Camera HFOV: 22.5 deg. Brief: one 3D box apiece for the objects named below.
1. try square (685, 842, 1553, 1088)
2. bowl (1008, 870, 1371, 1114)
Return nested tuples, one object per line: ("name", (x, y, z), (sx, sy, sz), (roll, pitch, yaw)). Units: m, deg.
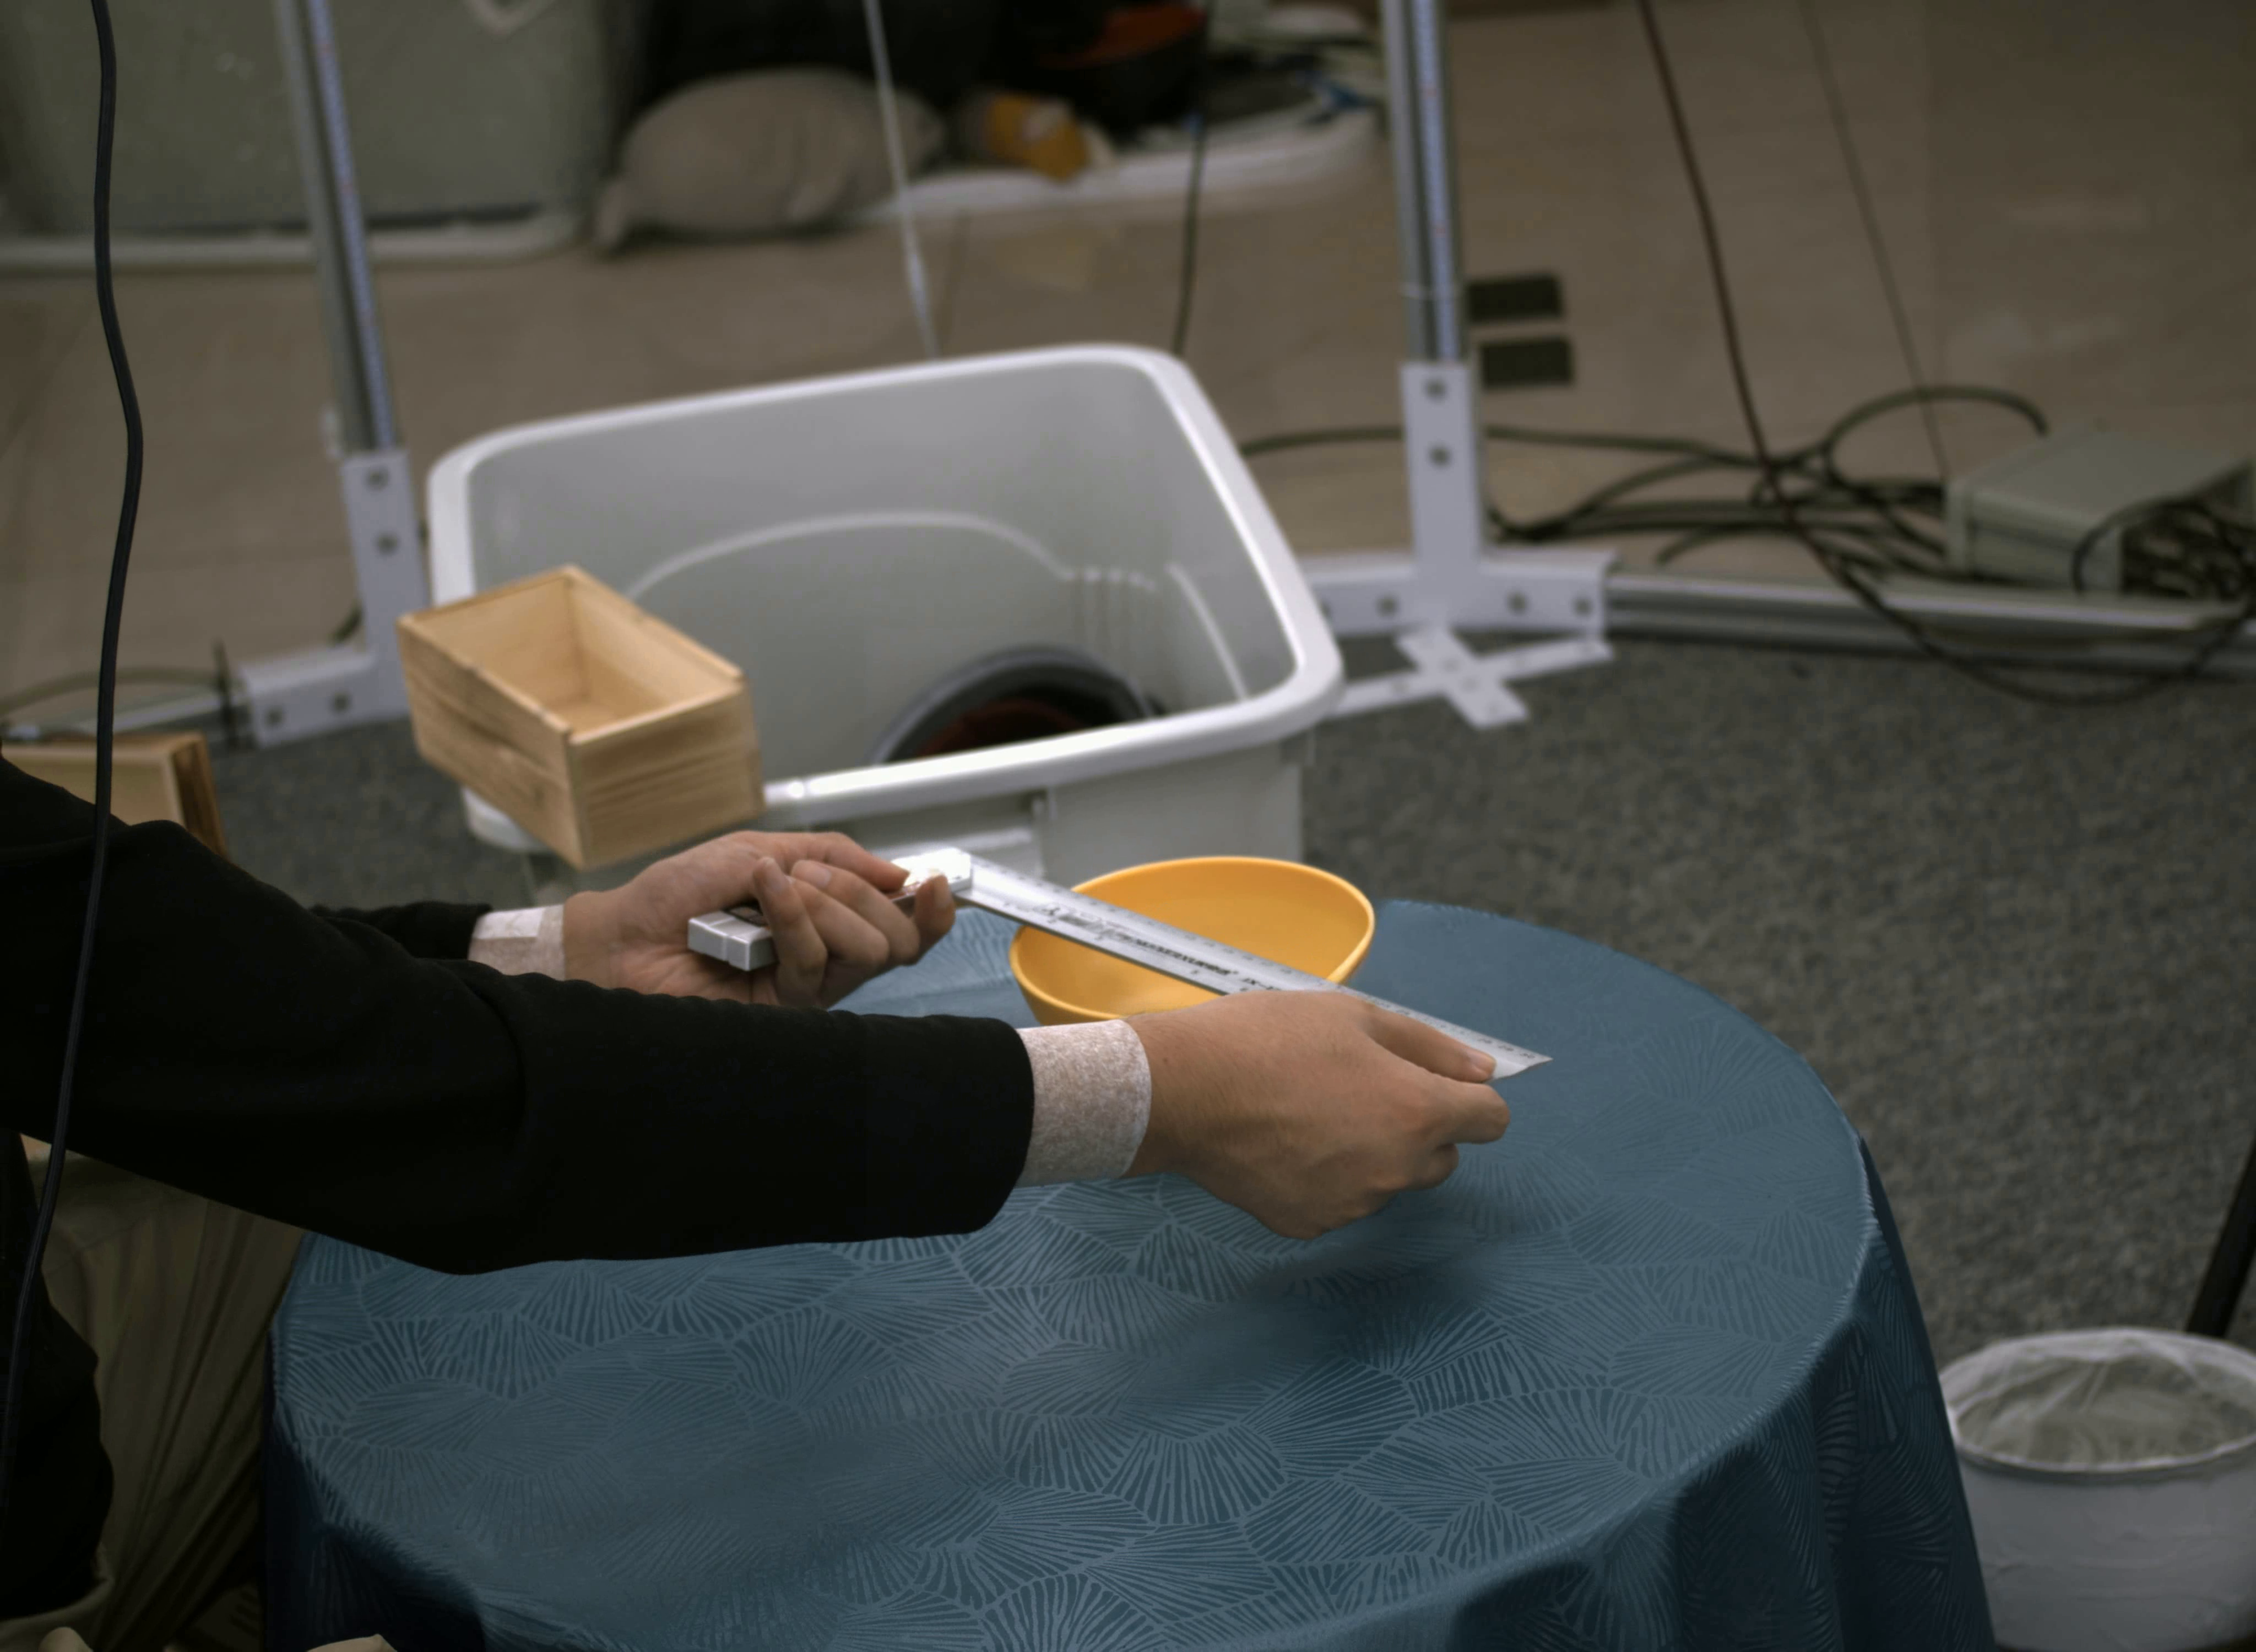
("try square", (-0.008, 0.065, 2.135), (0.310, 0.016, 0.151), (19, 27, 40))
("bowl", (0.028, 0.072, 2.220), (0.145, 0.061, 0.143), (-8, 23, 3))
